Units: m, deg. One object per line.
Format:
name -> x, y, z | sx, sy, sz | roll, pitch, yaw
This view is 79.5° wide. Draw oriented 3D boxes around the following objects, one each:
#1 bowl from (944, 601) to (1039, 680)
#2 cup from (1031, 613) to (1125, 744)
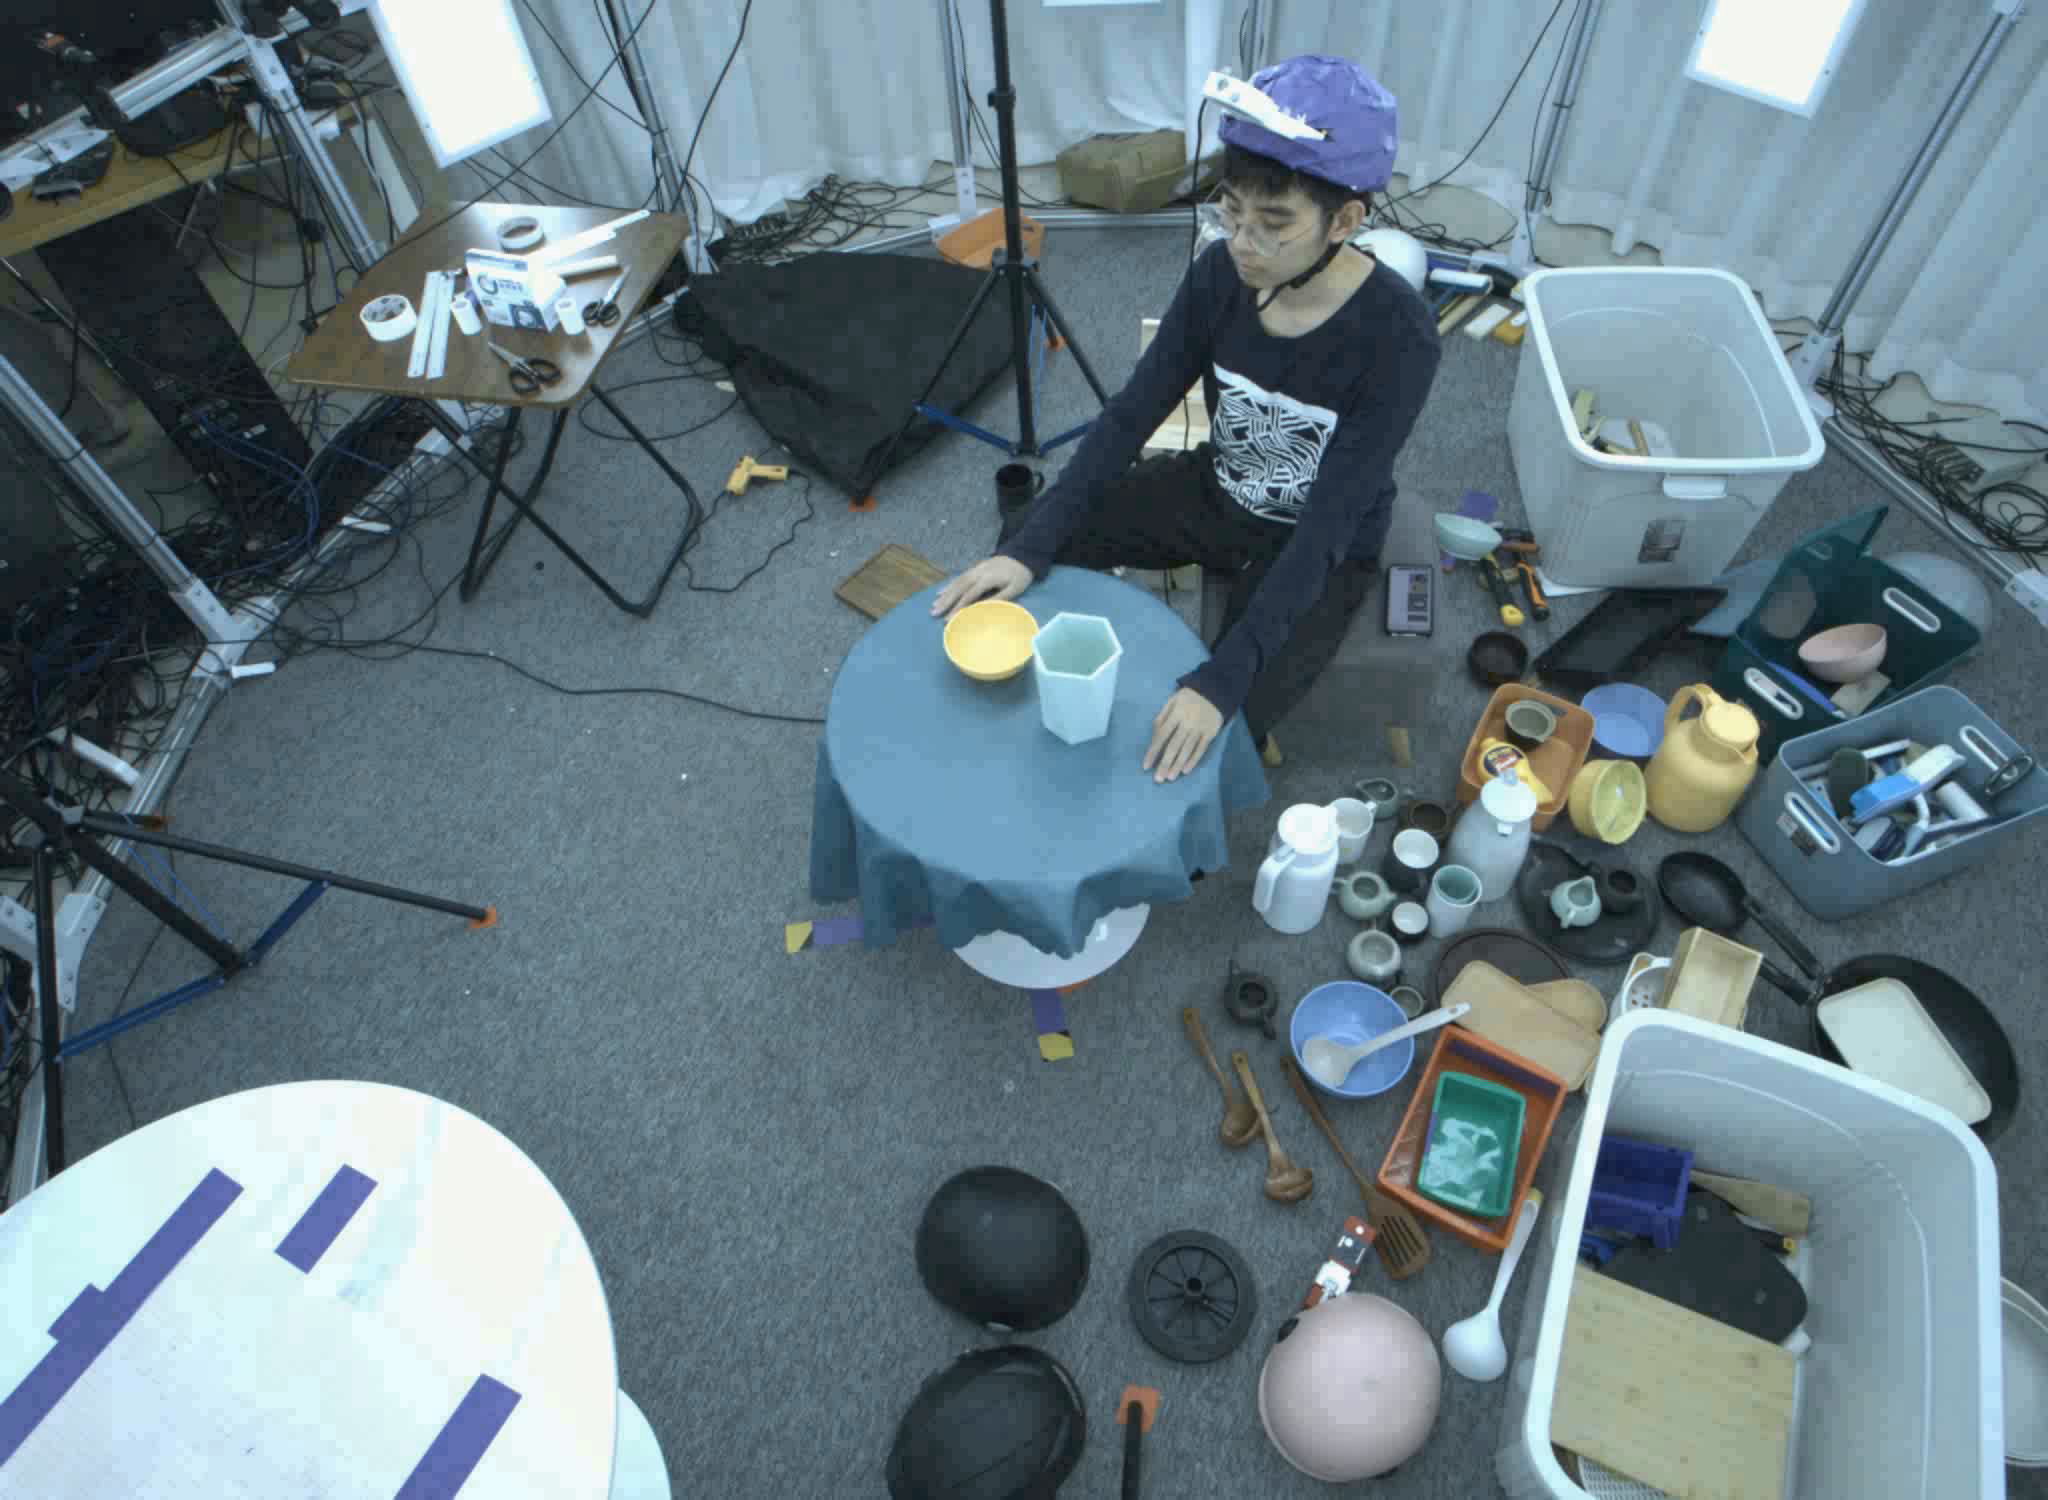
bowl -> -0.048, -0.154, 1.859 | 0.145, 0.060, 0.144 | 1, 54, 0
cup -> 0.075, -0.095, 1.744 | 0.116, 0.164, 0.129 | -17, 56, -10
